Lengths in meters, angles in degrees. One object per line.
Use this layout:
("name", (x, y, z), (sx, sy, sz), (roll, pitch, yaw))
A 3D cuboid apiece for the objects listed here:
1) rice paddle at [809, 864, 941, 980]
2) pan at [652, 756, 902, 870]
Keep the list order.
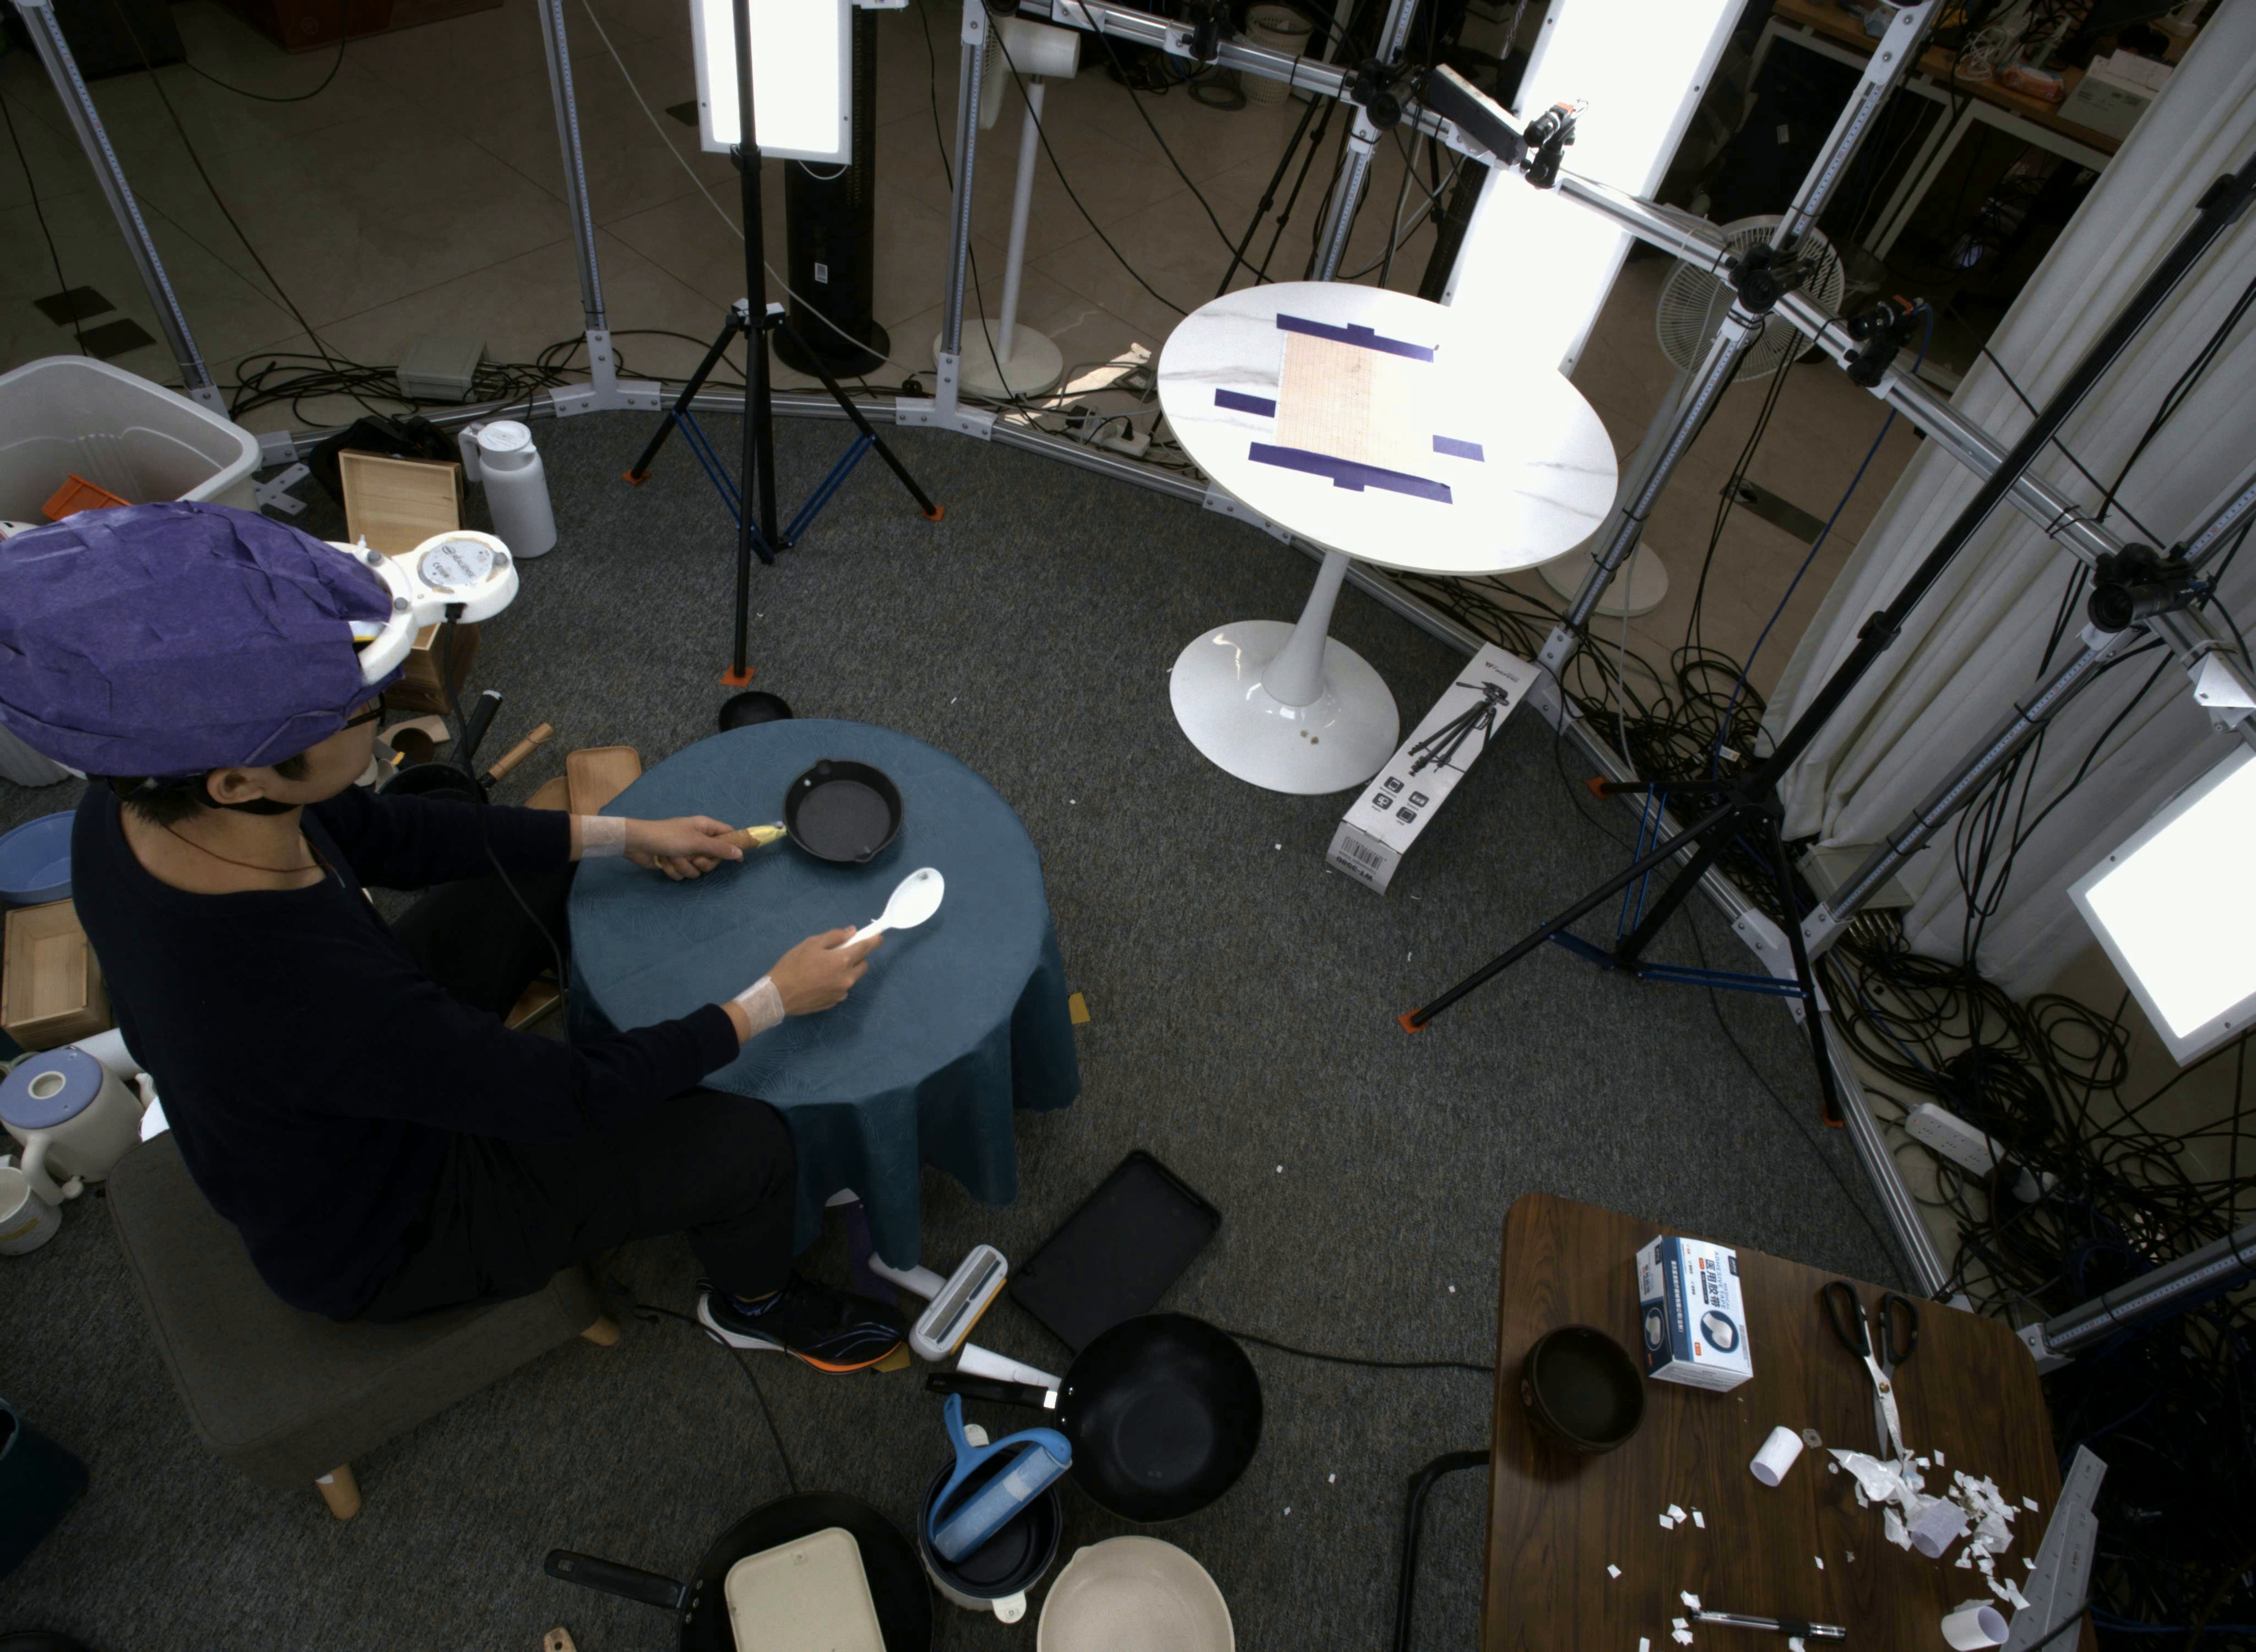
("rice paddle", (-0.301, 0.114, 1.587), (0.028, 0.071, 0.205), (16, 43, 39))
("pan", (-0.450, 0.003, 1.668), (0.326, 0.050, 0.166), (-16, 66, -24))
